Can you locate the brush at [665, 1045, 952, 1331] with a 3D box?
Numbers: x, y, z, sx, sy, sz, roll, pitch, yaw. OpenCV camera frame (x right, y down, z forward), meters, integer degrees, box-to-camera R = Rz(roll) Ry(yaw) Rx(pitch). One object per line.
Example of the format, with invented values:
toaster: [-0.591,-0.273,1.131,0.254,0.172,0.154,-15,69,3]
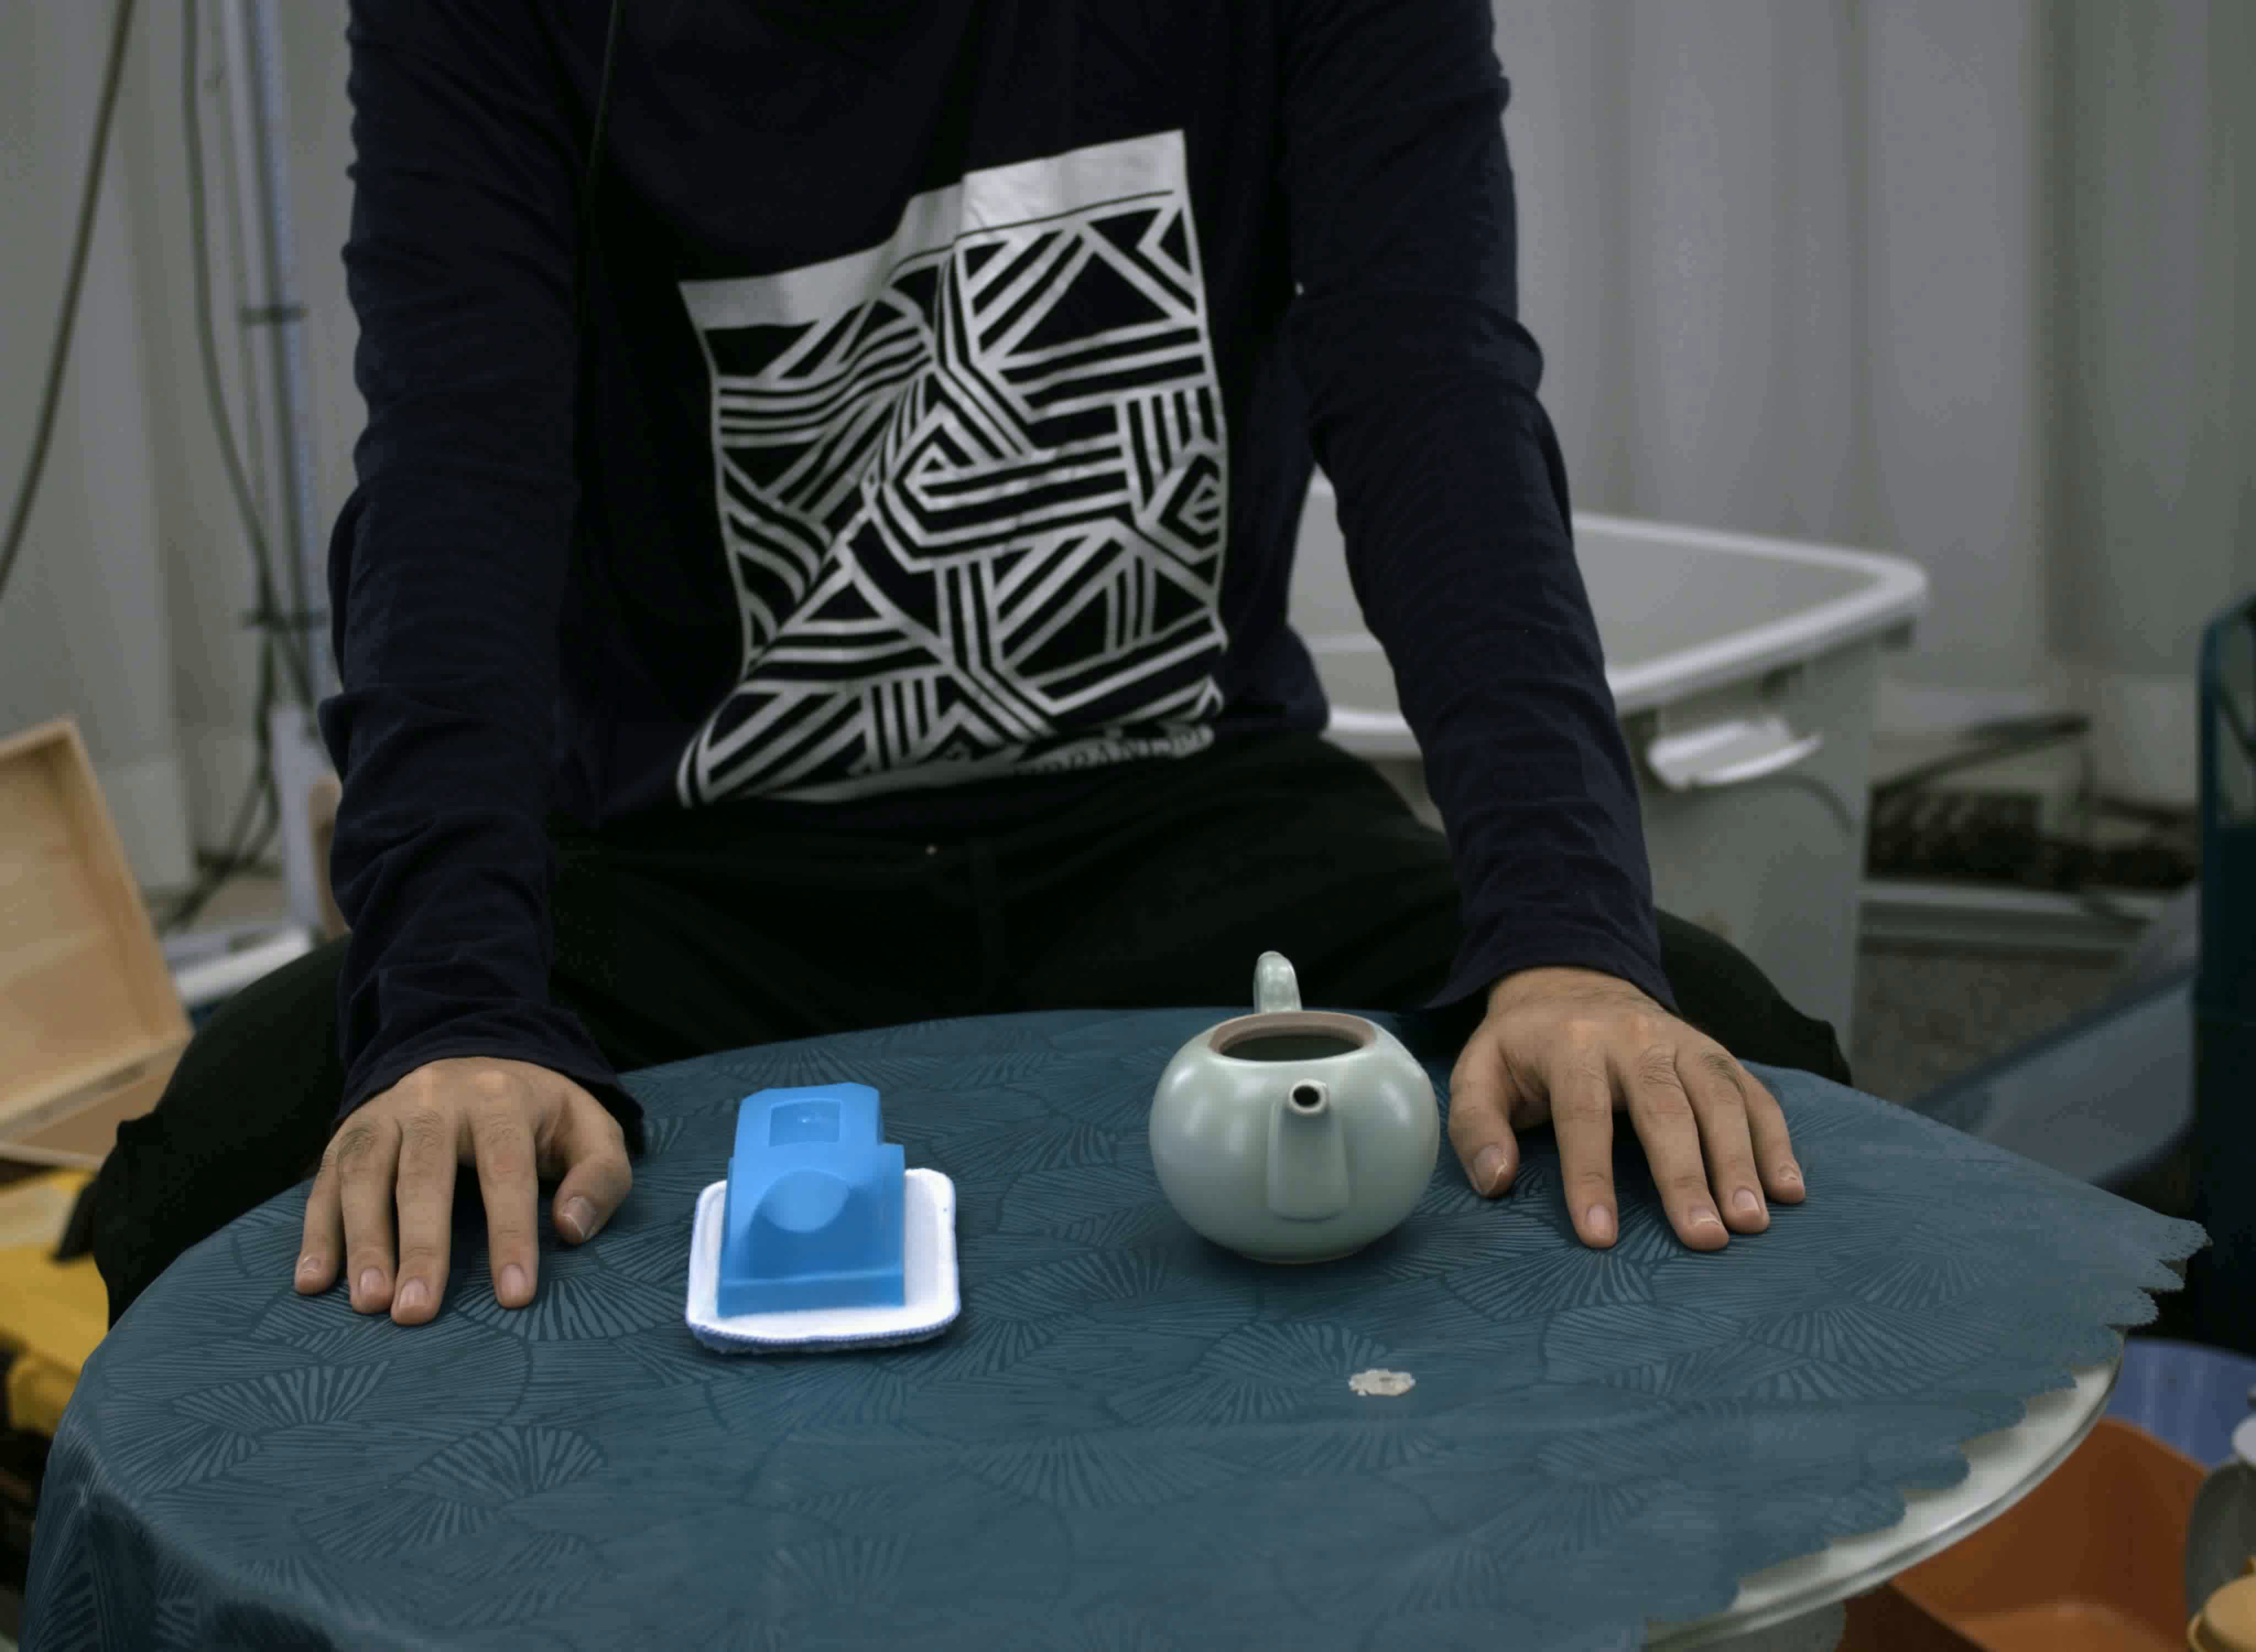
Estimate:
brush: [-0.096,0.106,1.648,0.083,0.055,0.145,0,17,0]

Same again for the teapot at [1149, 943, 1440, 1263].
teapot: [0.050,0.091,1.653,0.088,0.074,0.145,-3,18,1]
